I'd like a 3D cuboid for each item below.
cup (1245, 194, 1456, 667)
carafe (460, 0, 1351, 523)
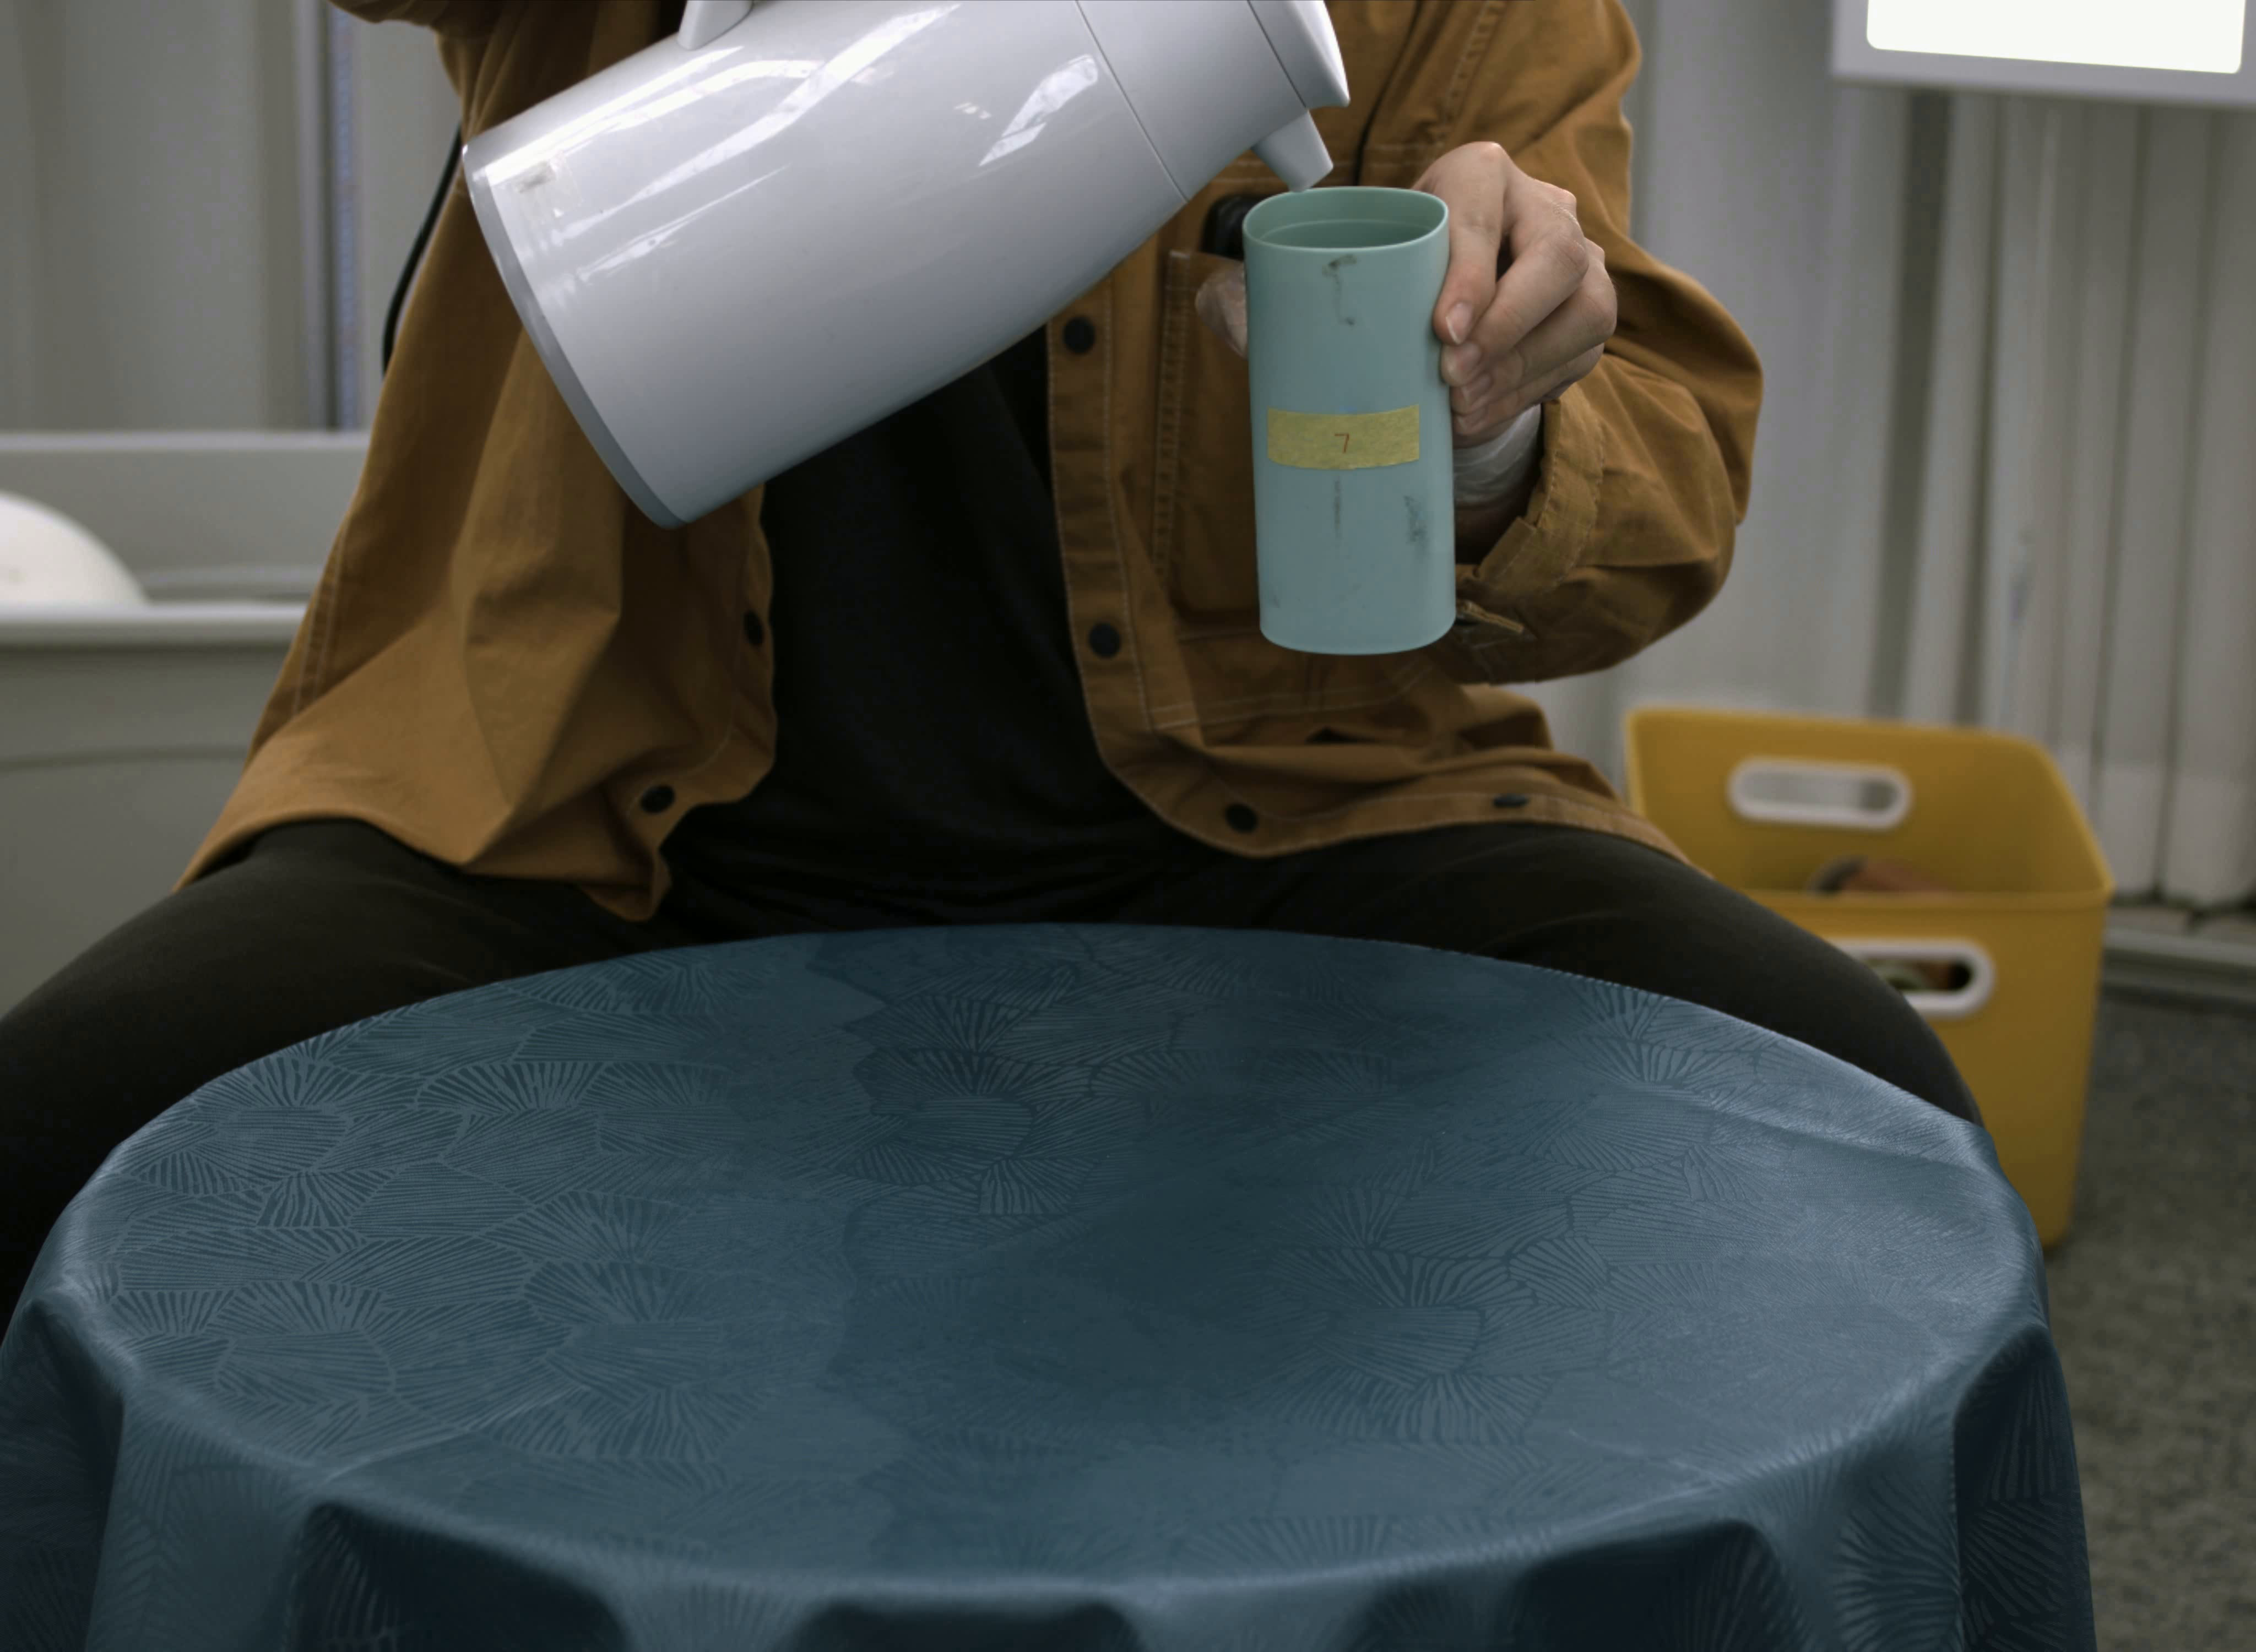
[{"bbox_3d":[0.069,-0.122,1.607,0.066,0.134,0.066,-2,24,1],"label":"cup"},{"bbox_3d":[-0.067,-0.219,1.550,0.248,0.170,0.131,-27,26,7],"label":"carafe"}]
